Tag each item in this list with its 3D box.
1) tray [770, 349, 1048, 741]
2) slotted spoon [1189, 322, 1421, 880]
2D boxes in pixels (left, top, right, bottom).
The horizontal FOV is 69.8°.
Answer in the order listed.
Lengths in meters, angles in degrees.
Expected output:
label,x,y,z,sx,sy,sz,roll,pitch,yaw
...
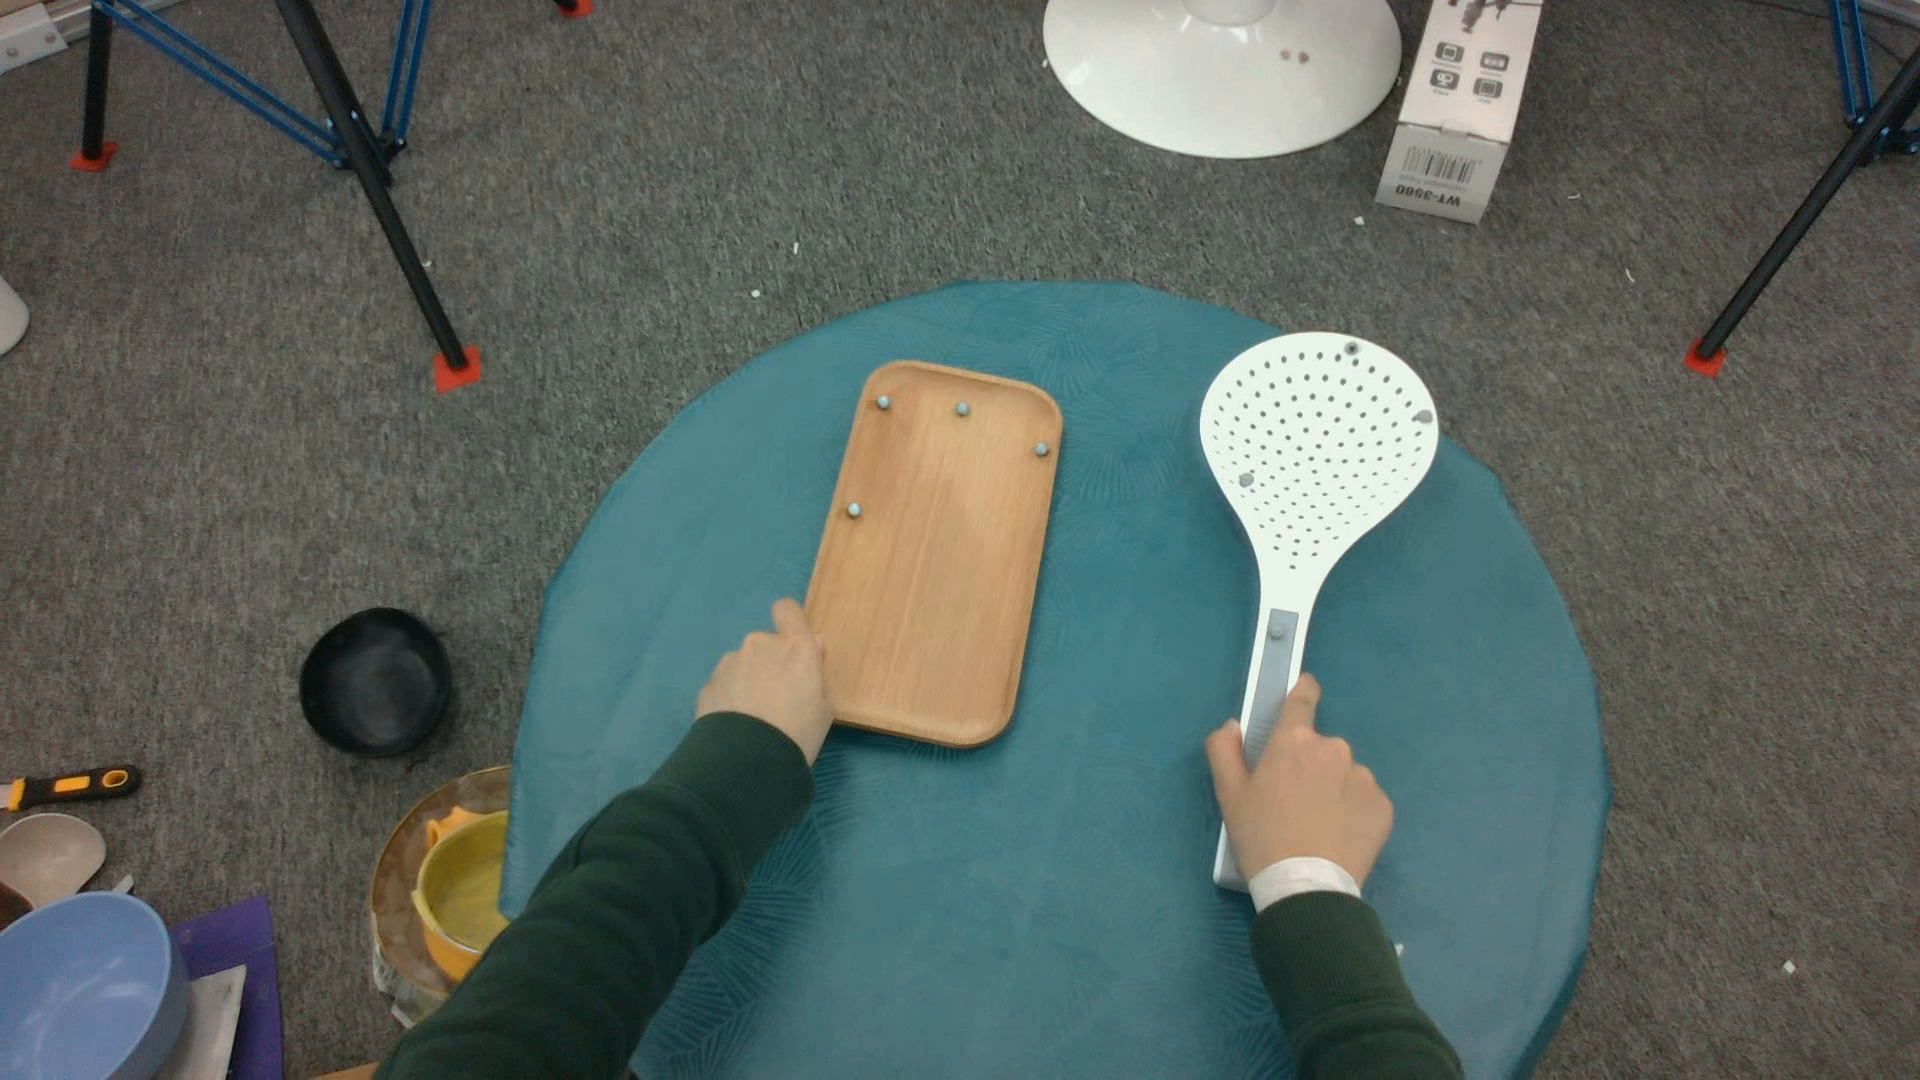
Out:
label,x,y,z,sx,sy,sz,roll,pitch,yaw
tray,-0.025,-0.004,0.806,0.130,0.023,0.252,11,59,2
slotted spoon,0.179,0.021,0.781,0.136,0.045,0.351,9,58,14
